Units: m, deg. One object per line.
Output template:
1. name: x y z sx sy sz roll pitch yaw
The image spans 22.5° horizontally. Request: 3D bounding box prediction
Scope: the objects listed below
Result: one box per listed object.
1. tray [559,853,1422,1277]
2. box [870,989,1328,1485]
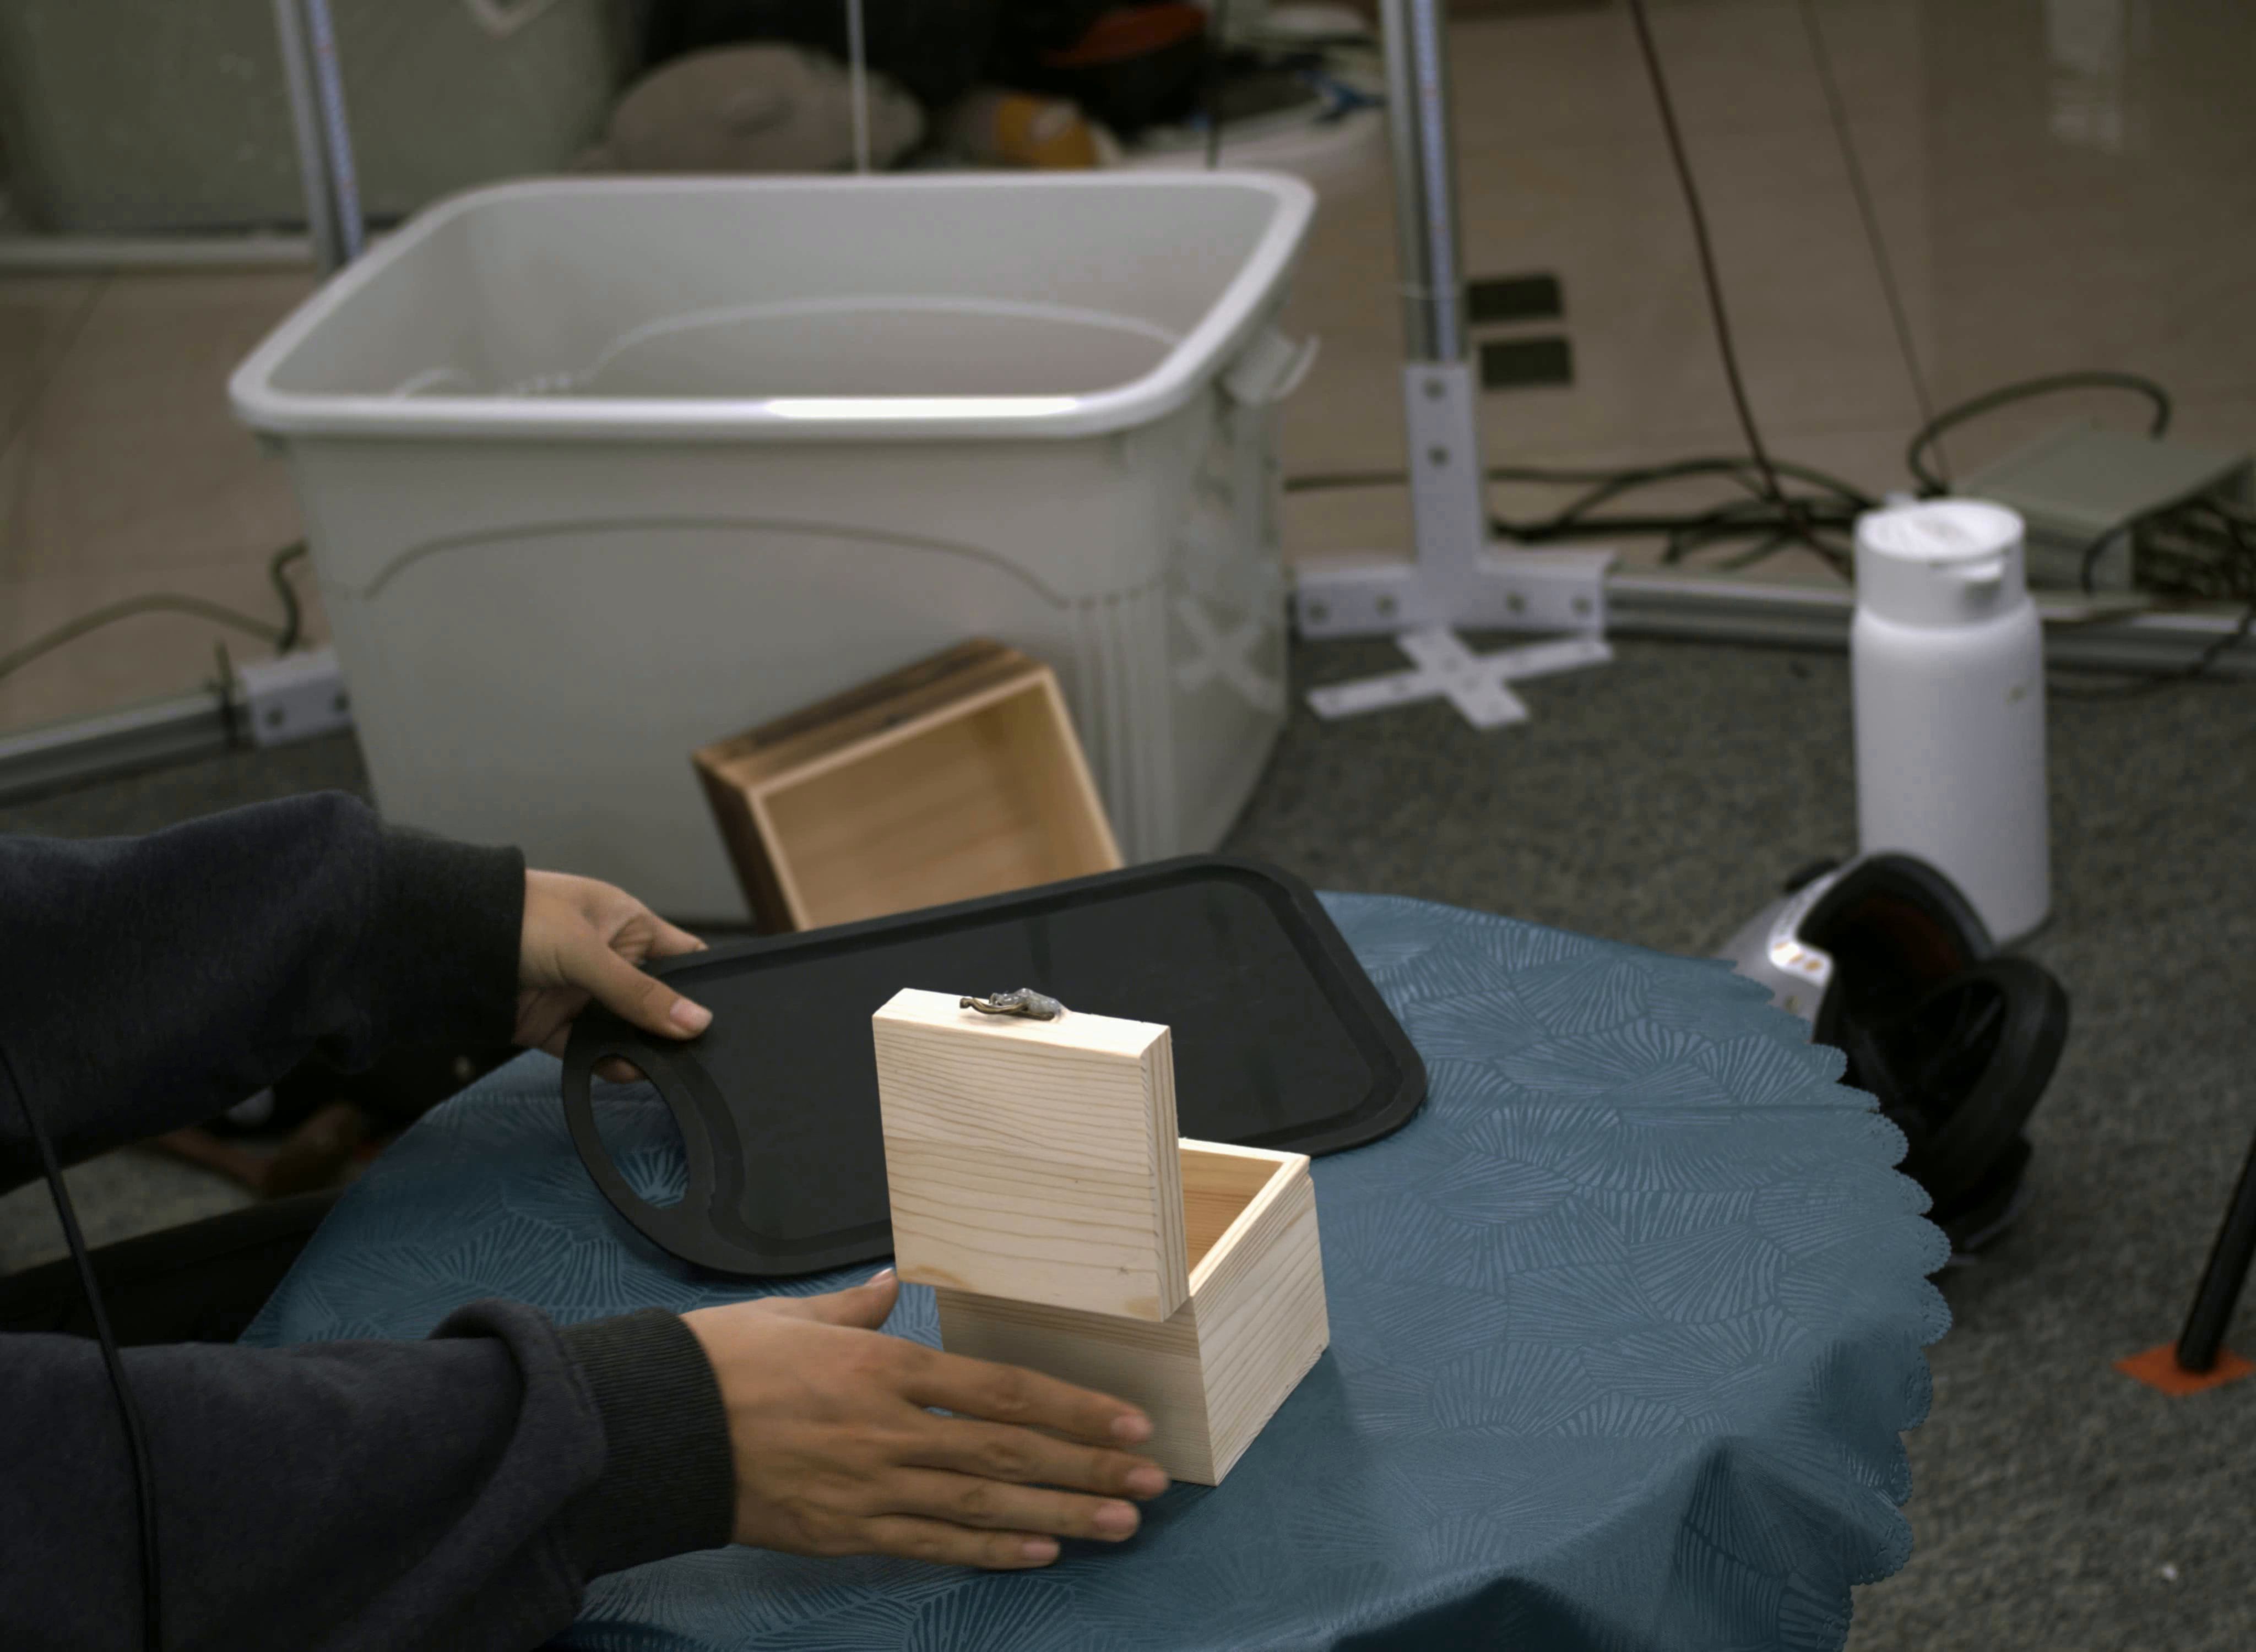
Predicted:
1. tray: -0.059 0.090 2.211 0.324 0.010 0.207 -12 36 -13
2. box: -0.007 0.123 1.961 0.102 0.187 0.132 7 30 24
